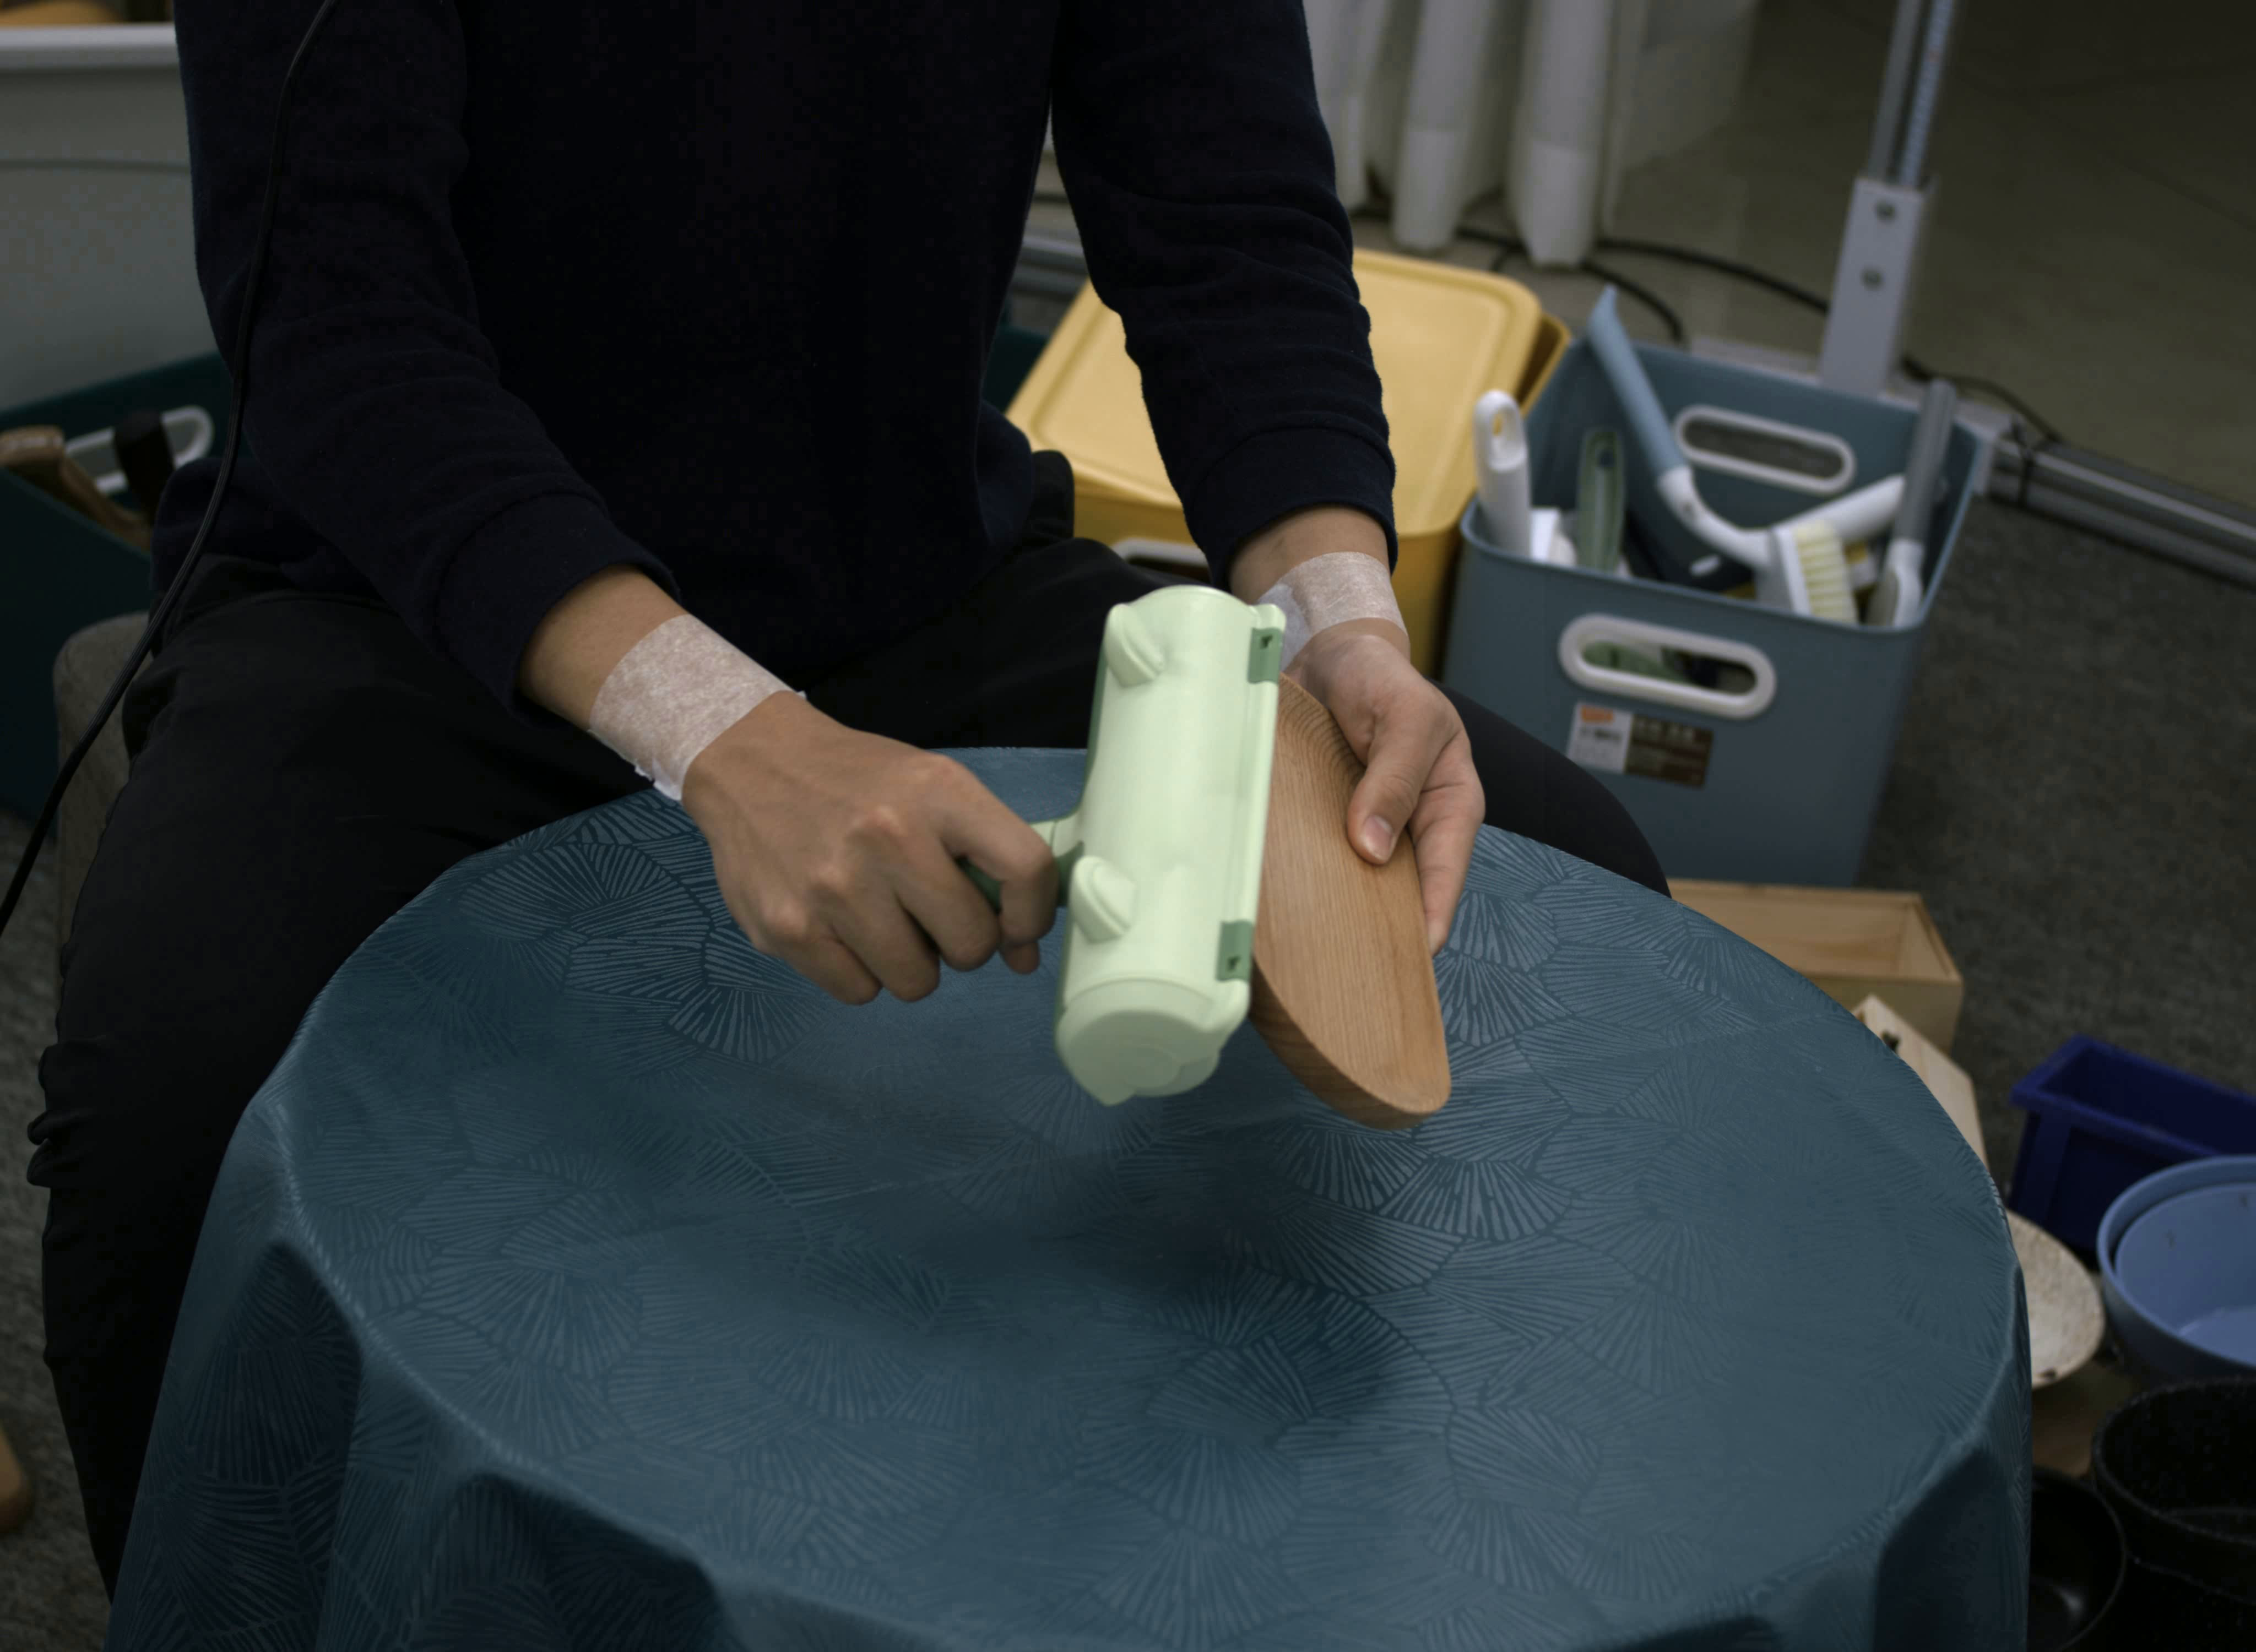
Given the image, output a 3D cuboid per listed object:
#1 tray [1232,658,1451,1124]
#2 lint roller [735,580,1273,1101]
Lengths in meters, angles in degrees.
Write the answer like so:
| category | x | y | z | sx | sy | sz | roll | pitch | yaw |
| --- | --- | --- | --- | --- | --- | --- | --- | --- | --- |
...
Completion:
| category | x | y | z | sx | sy | sz | roll | pitch | yaw |
| --- | --- | --- | --- | --- | --- | --- | --- | --- | --- |
| tray | 0.062 | 0.018 | 1.801 | 0.101 | 0.020 | 0.233 | 38 | 23 | -26 |
| lint roller | -0.048 | 0.002 | 1.737 | 0.183 | 0.081 | 0.200 | -5 | 44 | 12 |
